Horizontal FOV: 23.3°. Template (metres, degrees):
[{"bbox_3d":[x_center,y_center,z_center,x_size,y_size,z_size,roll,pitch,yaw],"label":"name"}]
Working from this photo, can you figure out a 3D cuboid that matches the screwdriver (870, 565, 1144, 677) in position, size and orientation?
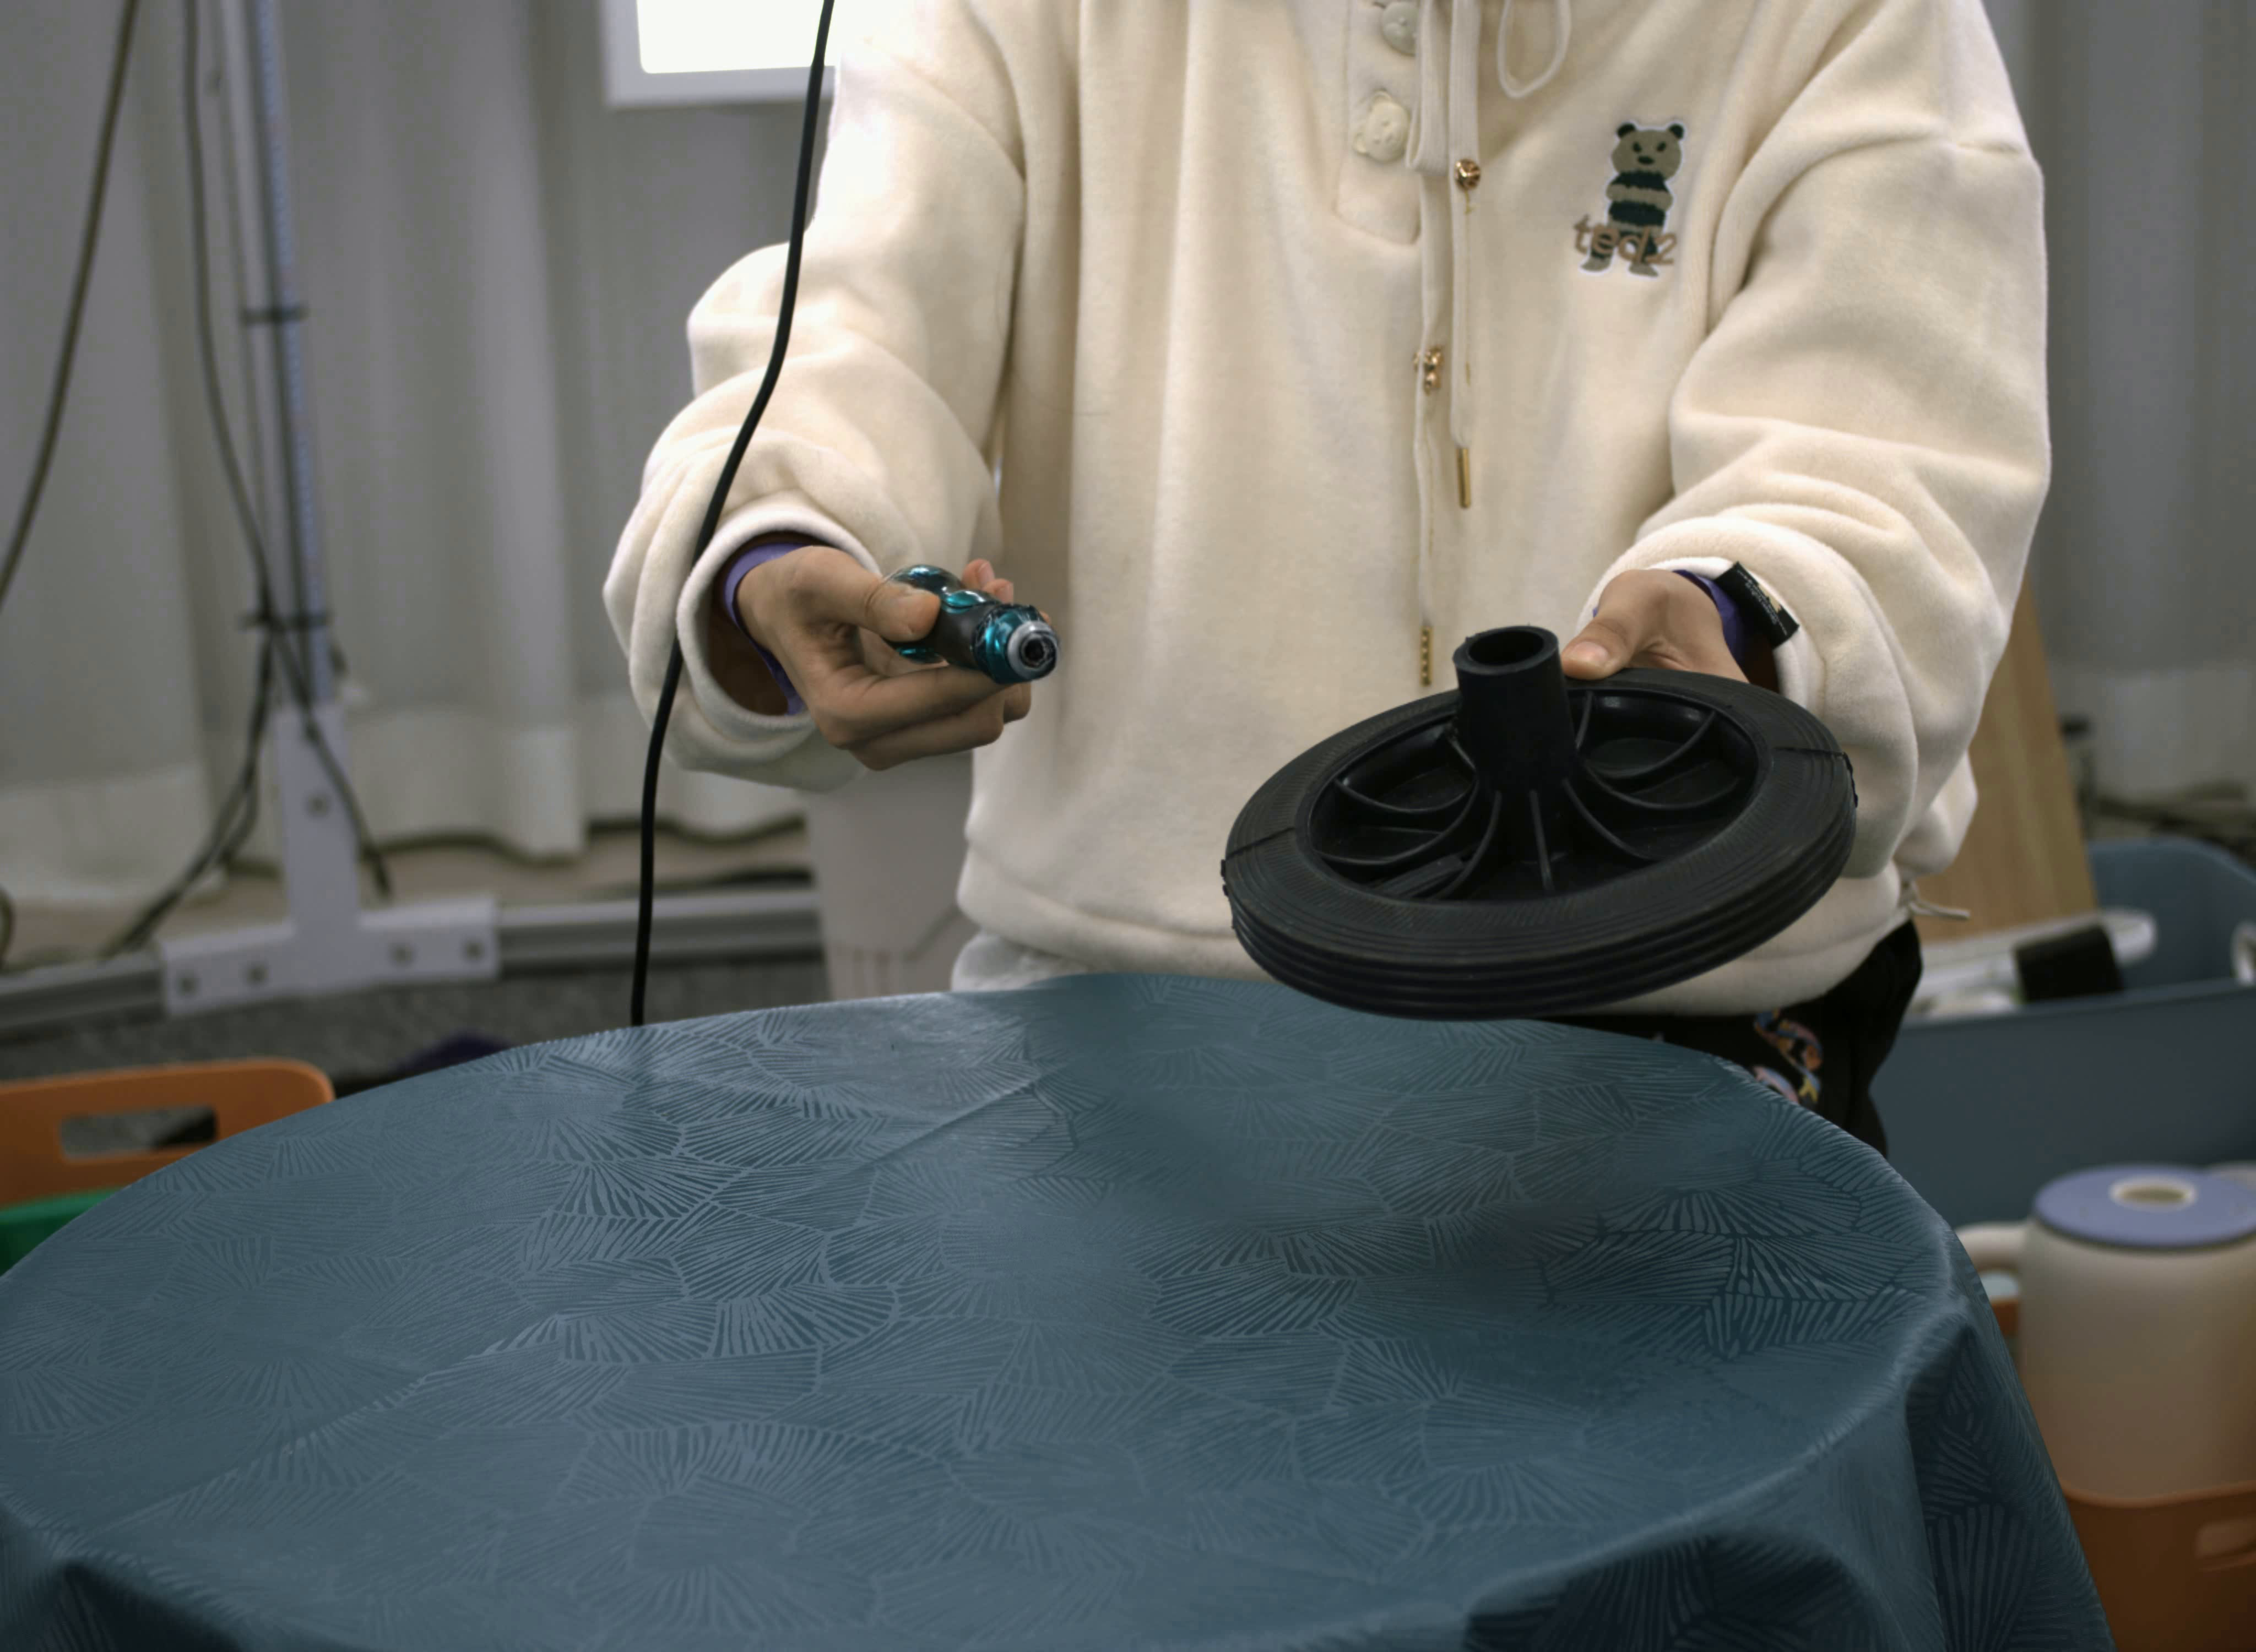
[{"bbox_3d":[-0.036,-0.060,1.728,0.033,0.033,0.191,-9,10,-23],"label":"screwdriver"}]

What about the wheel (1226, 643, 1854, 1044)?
[{"bbox_3d":[0.117,-0.012,1.611,0.188,0.078,0.191,9,34,36],"label":"wheel"}]
